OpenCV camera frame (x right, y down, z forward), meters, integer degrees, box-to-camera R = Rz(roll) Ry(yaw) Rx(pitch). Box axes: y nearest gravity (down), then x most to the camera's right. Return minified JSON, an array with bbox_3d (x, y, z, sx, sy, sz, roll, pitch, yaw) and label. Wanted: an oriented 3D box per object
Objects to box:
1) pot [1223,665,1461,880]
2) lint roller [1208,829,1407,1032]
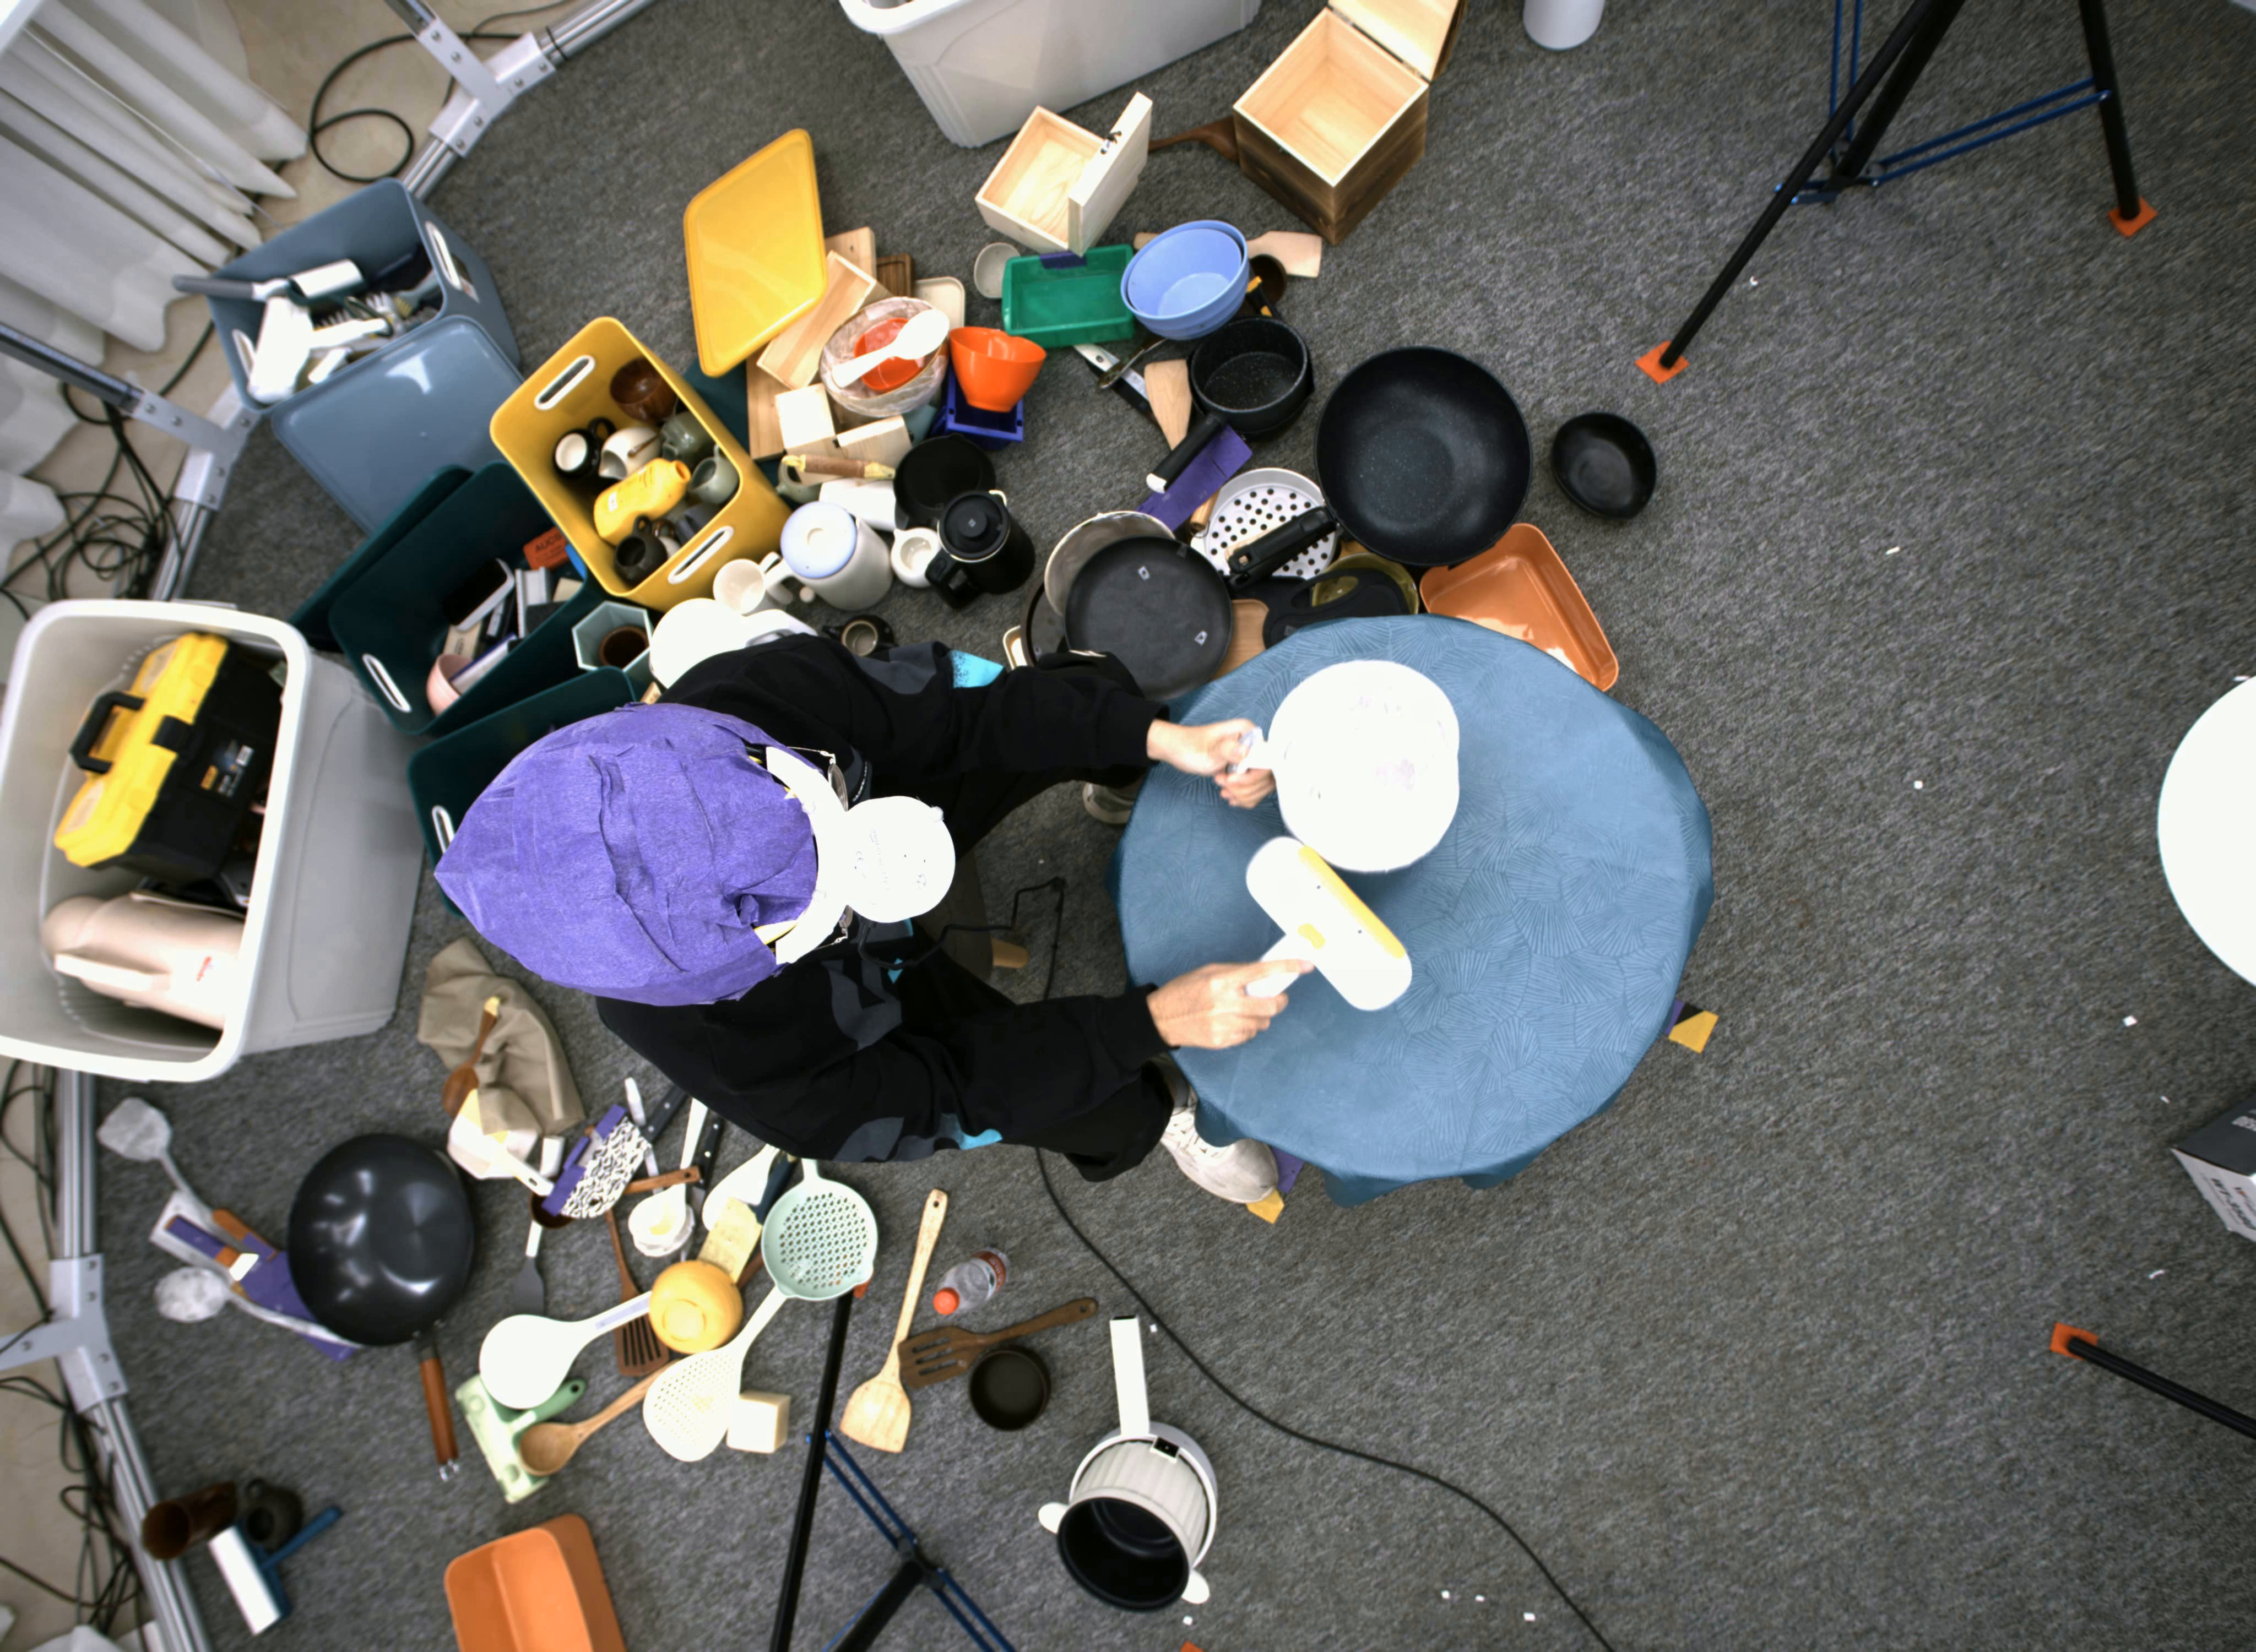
[{"bbox_3d":[0.204,-0.049,1.341,0.234,0.139,0.175,3,64,14],"label":"pot"},{"bbox_3d":[0.150,0.126,1.356,0.192,0.072,0.196,40,120,2],"label":"lint roller"}]
